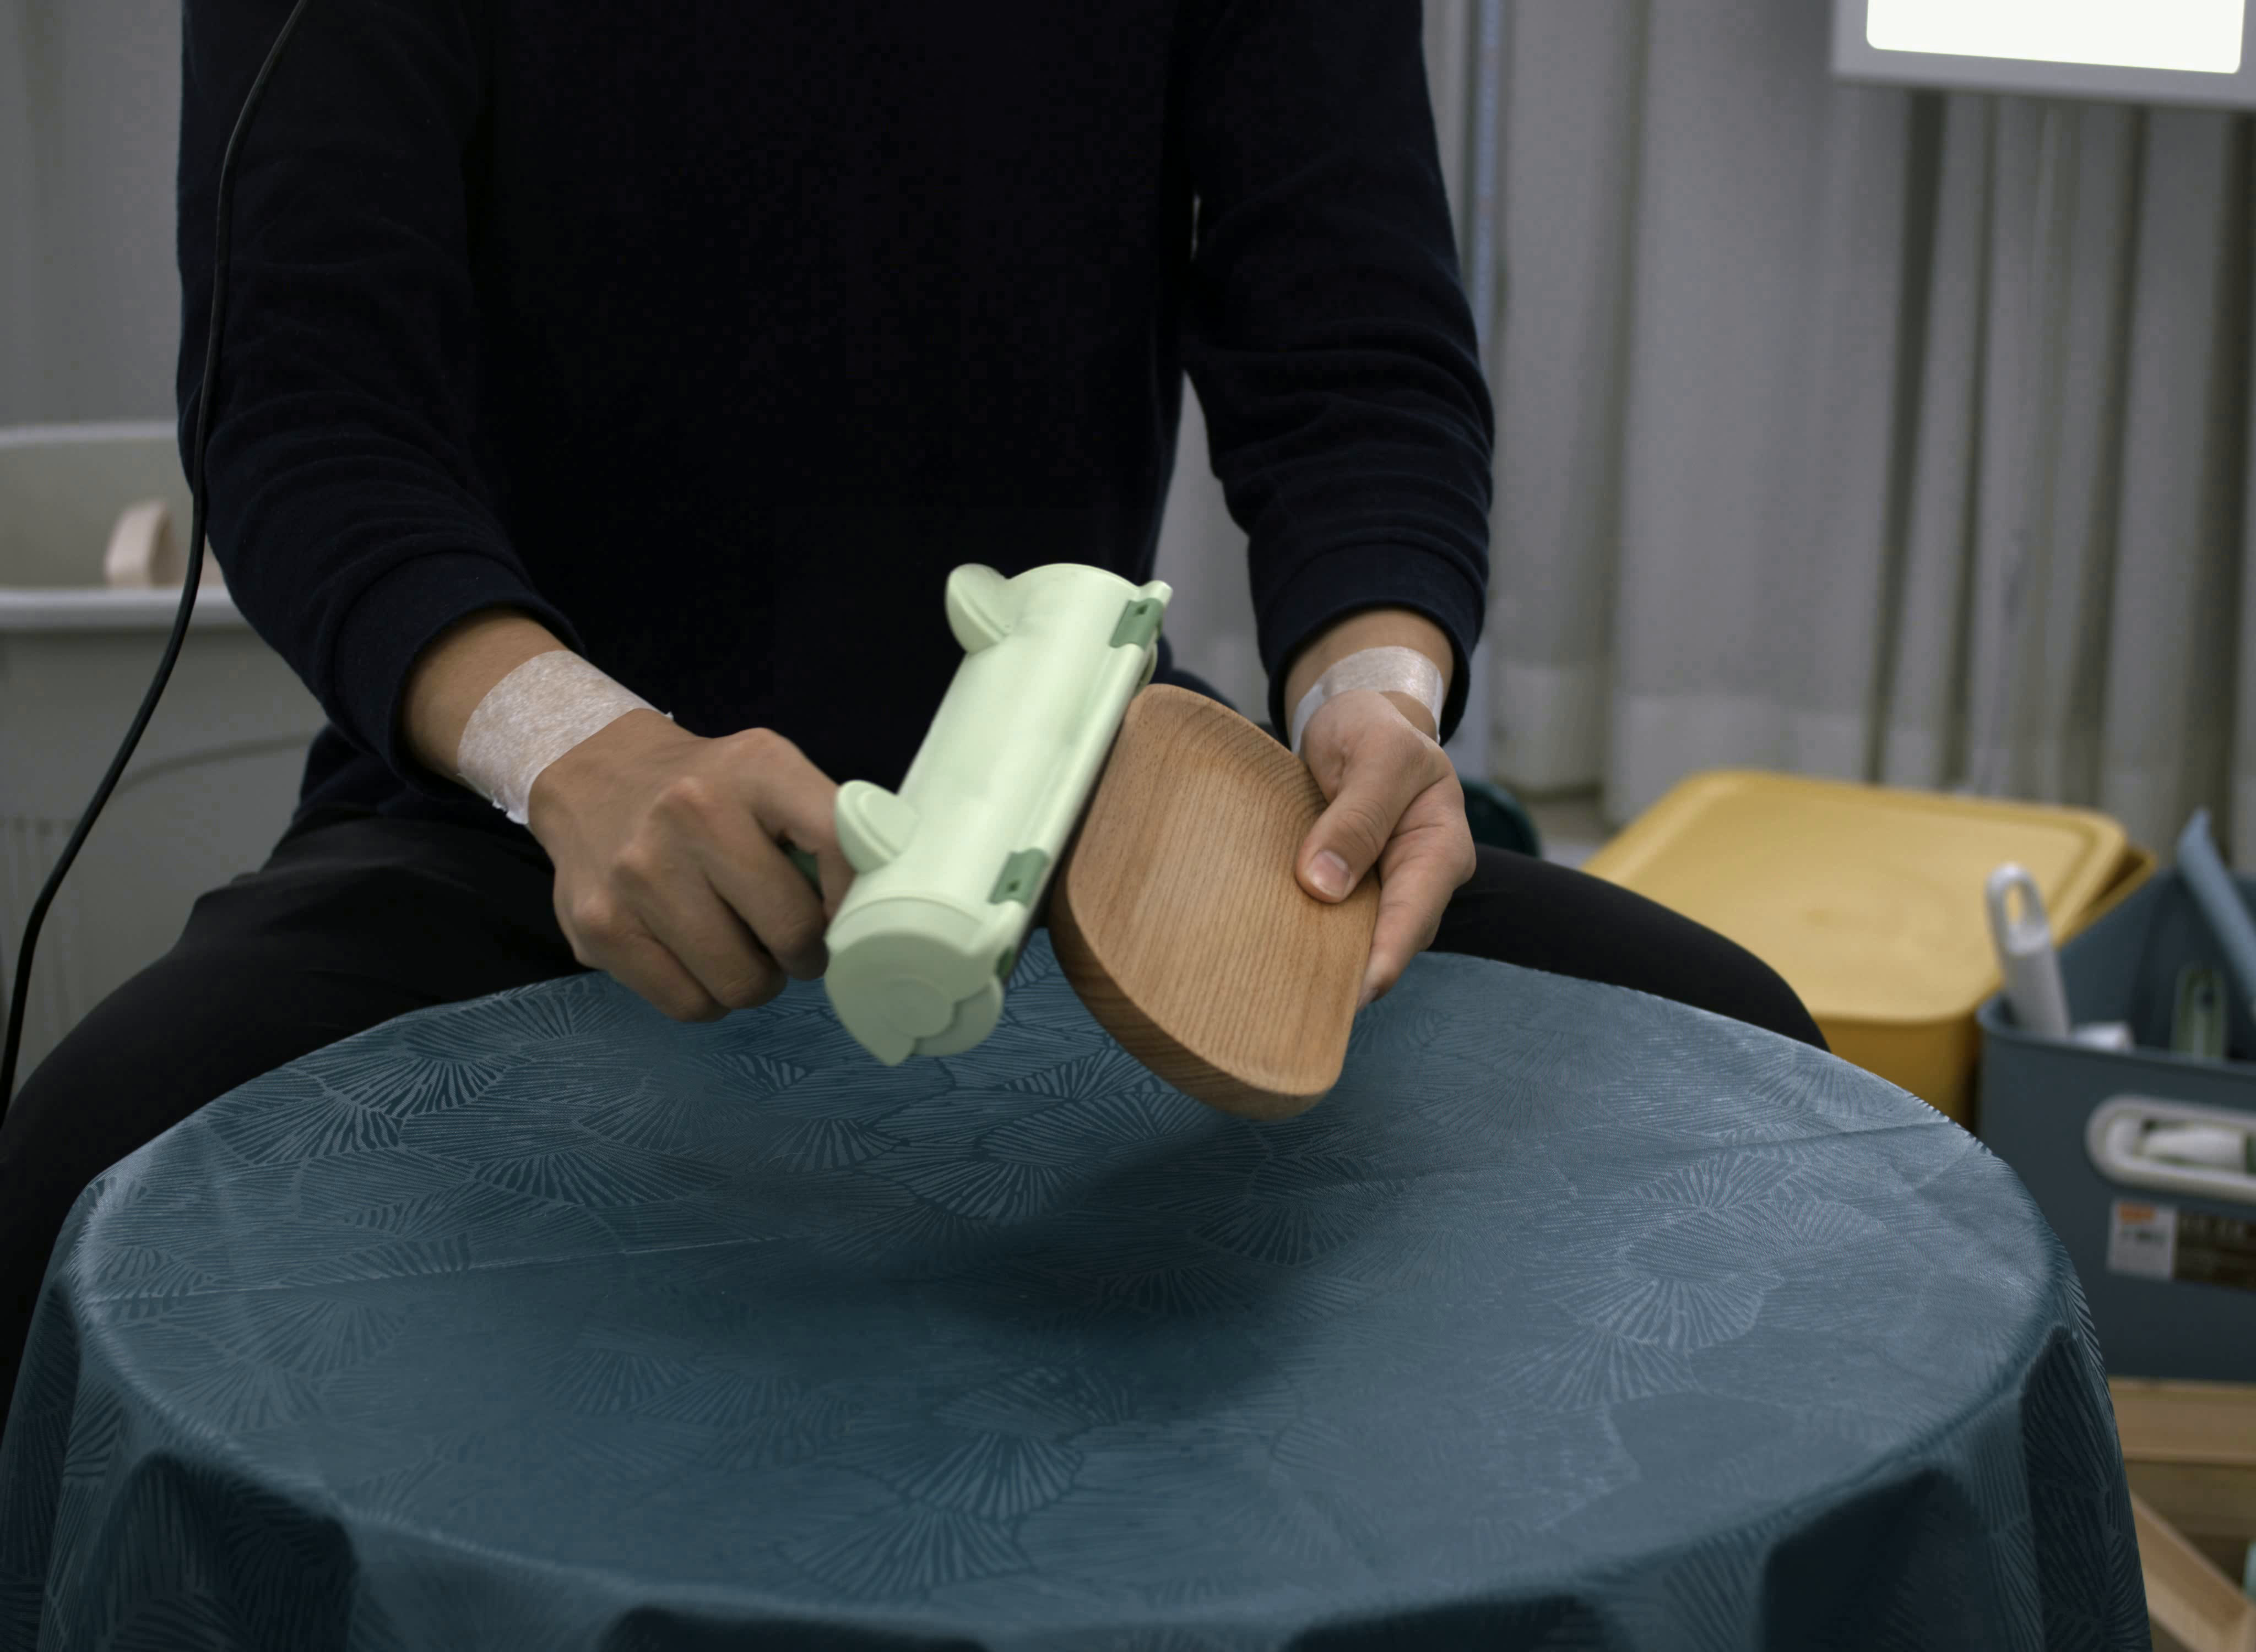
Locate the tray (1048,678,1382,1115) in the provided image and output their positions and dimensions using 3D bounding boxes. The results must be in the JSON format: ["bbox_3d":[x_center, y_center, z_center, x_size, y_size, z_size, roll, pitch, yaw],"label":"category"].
[{"bbox_3d":[0.027,0.019,1.579,0.102,0.020,0.230,38,21,-9],"label":"tray"}]

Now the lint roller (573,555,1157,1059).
[{"bbox_3d":[-0.094,-0.006,1.542,0.182,0.083,0.197,-10,30,22],"label":"lint roller"}]
